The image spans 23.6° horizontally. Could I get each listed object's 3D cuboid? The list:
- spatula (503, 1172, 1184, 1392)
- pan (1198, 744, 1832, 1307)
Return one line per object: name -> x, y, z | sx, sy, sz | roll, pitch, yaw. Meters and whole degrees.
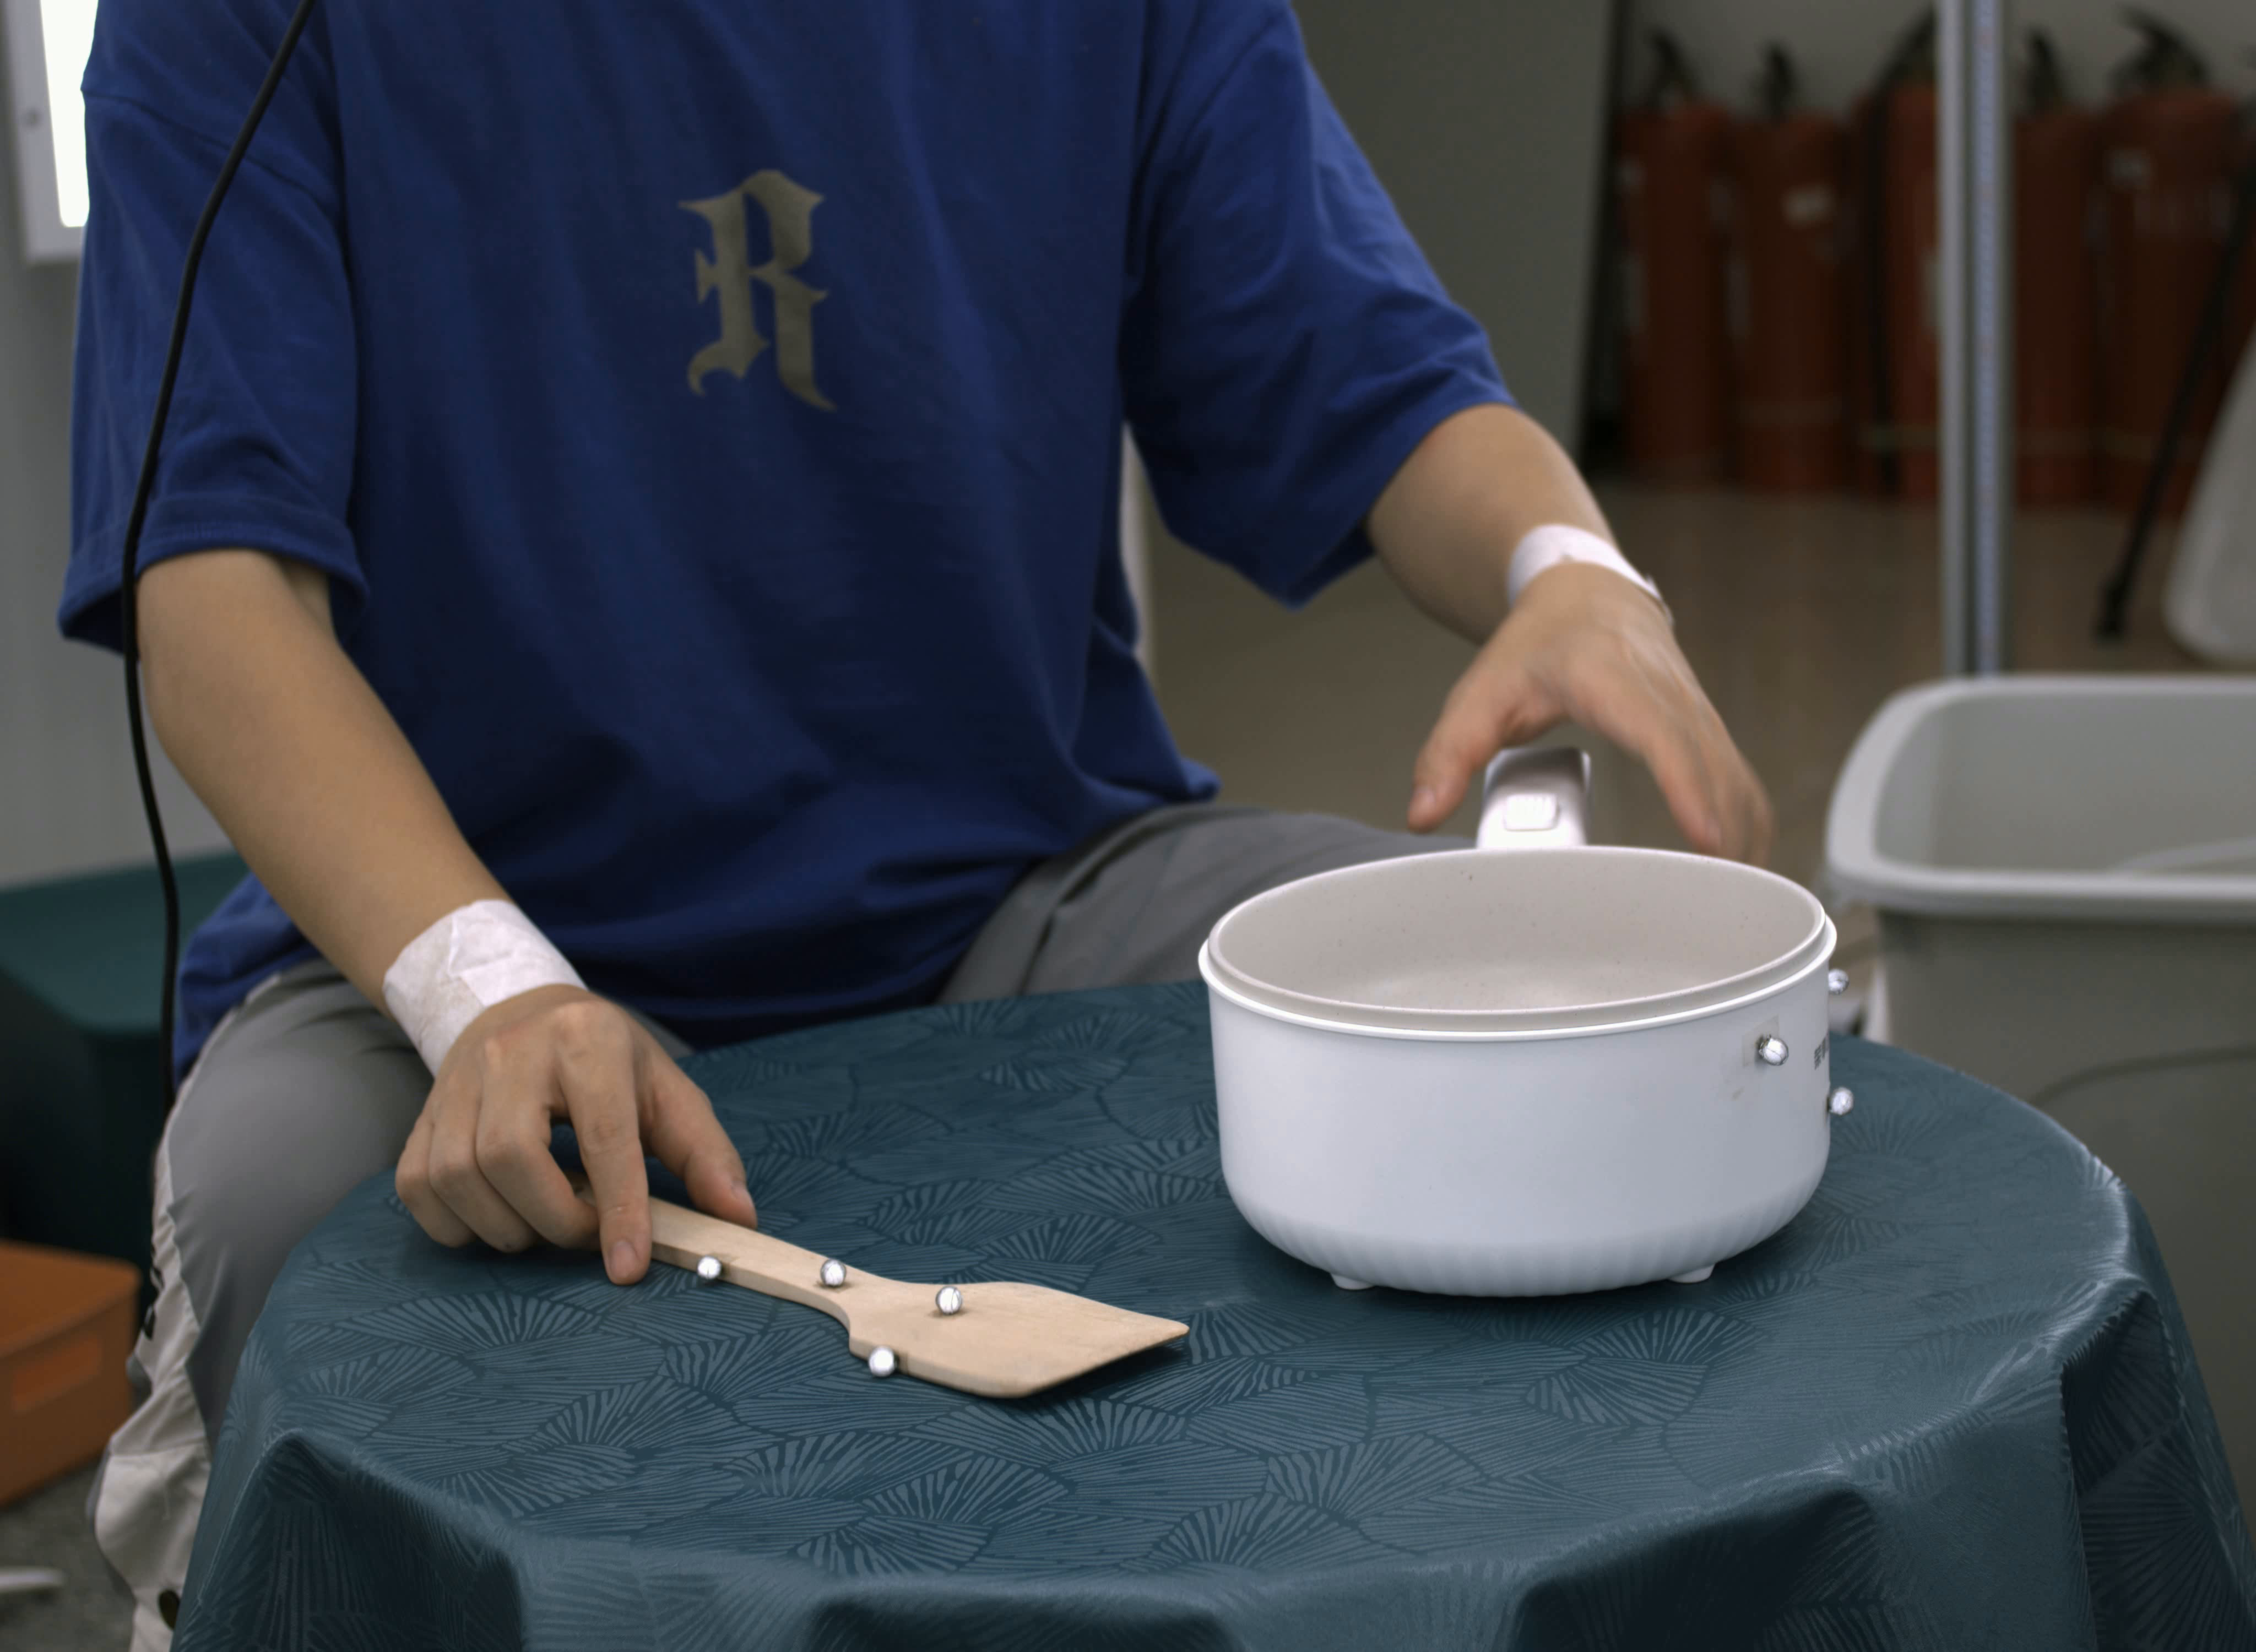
spatula -> -0.104, 0.141, 1.700 | 0.071, 0.011, 0.296 | -14, 17, -40
pan -> 0.132, 0.062, 1.771 | 0.199, 0.103, 0.354 | -4, 14, 7
